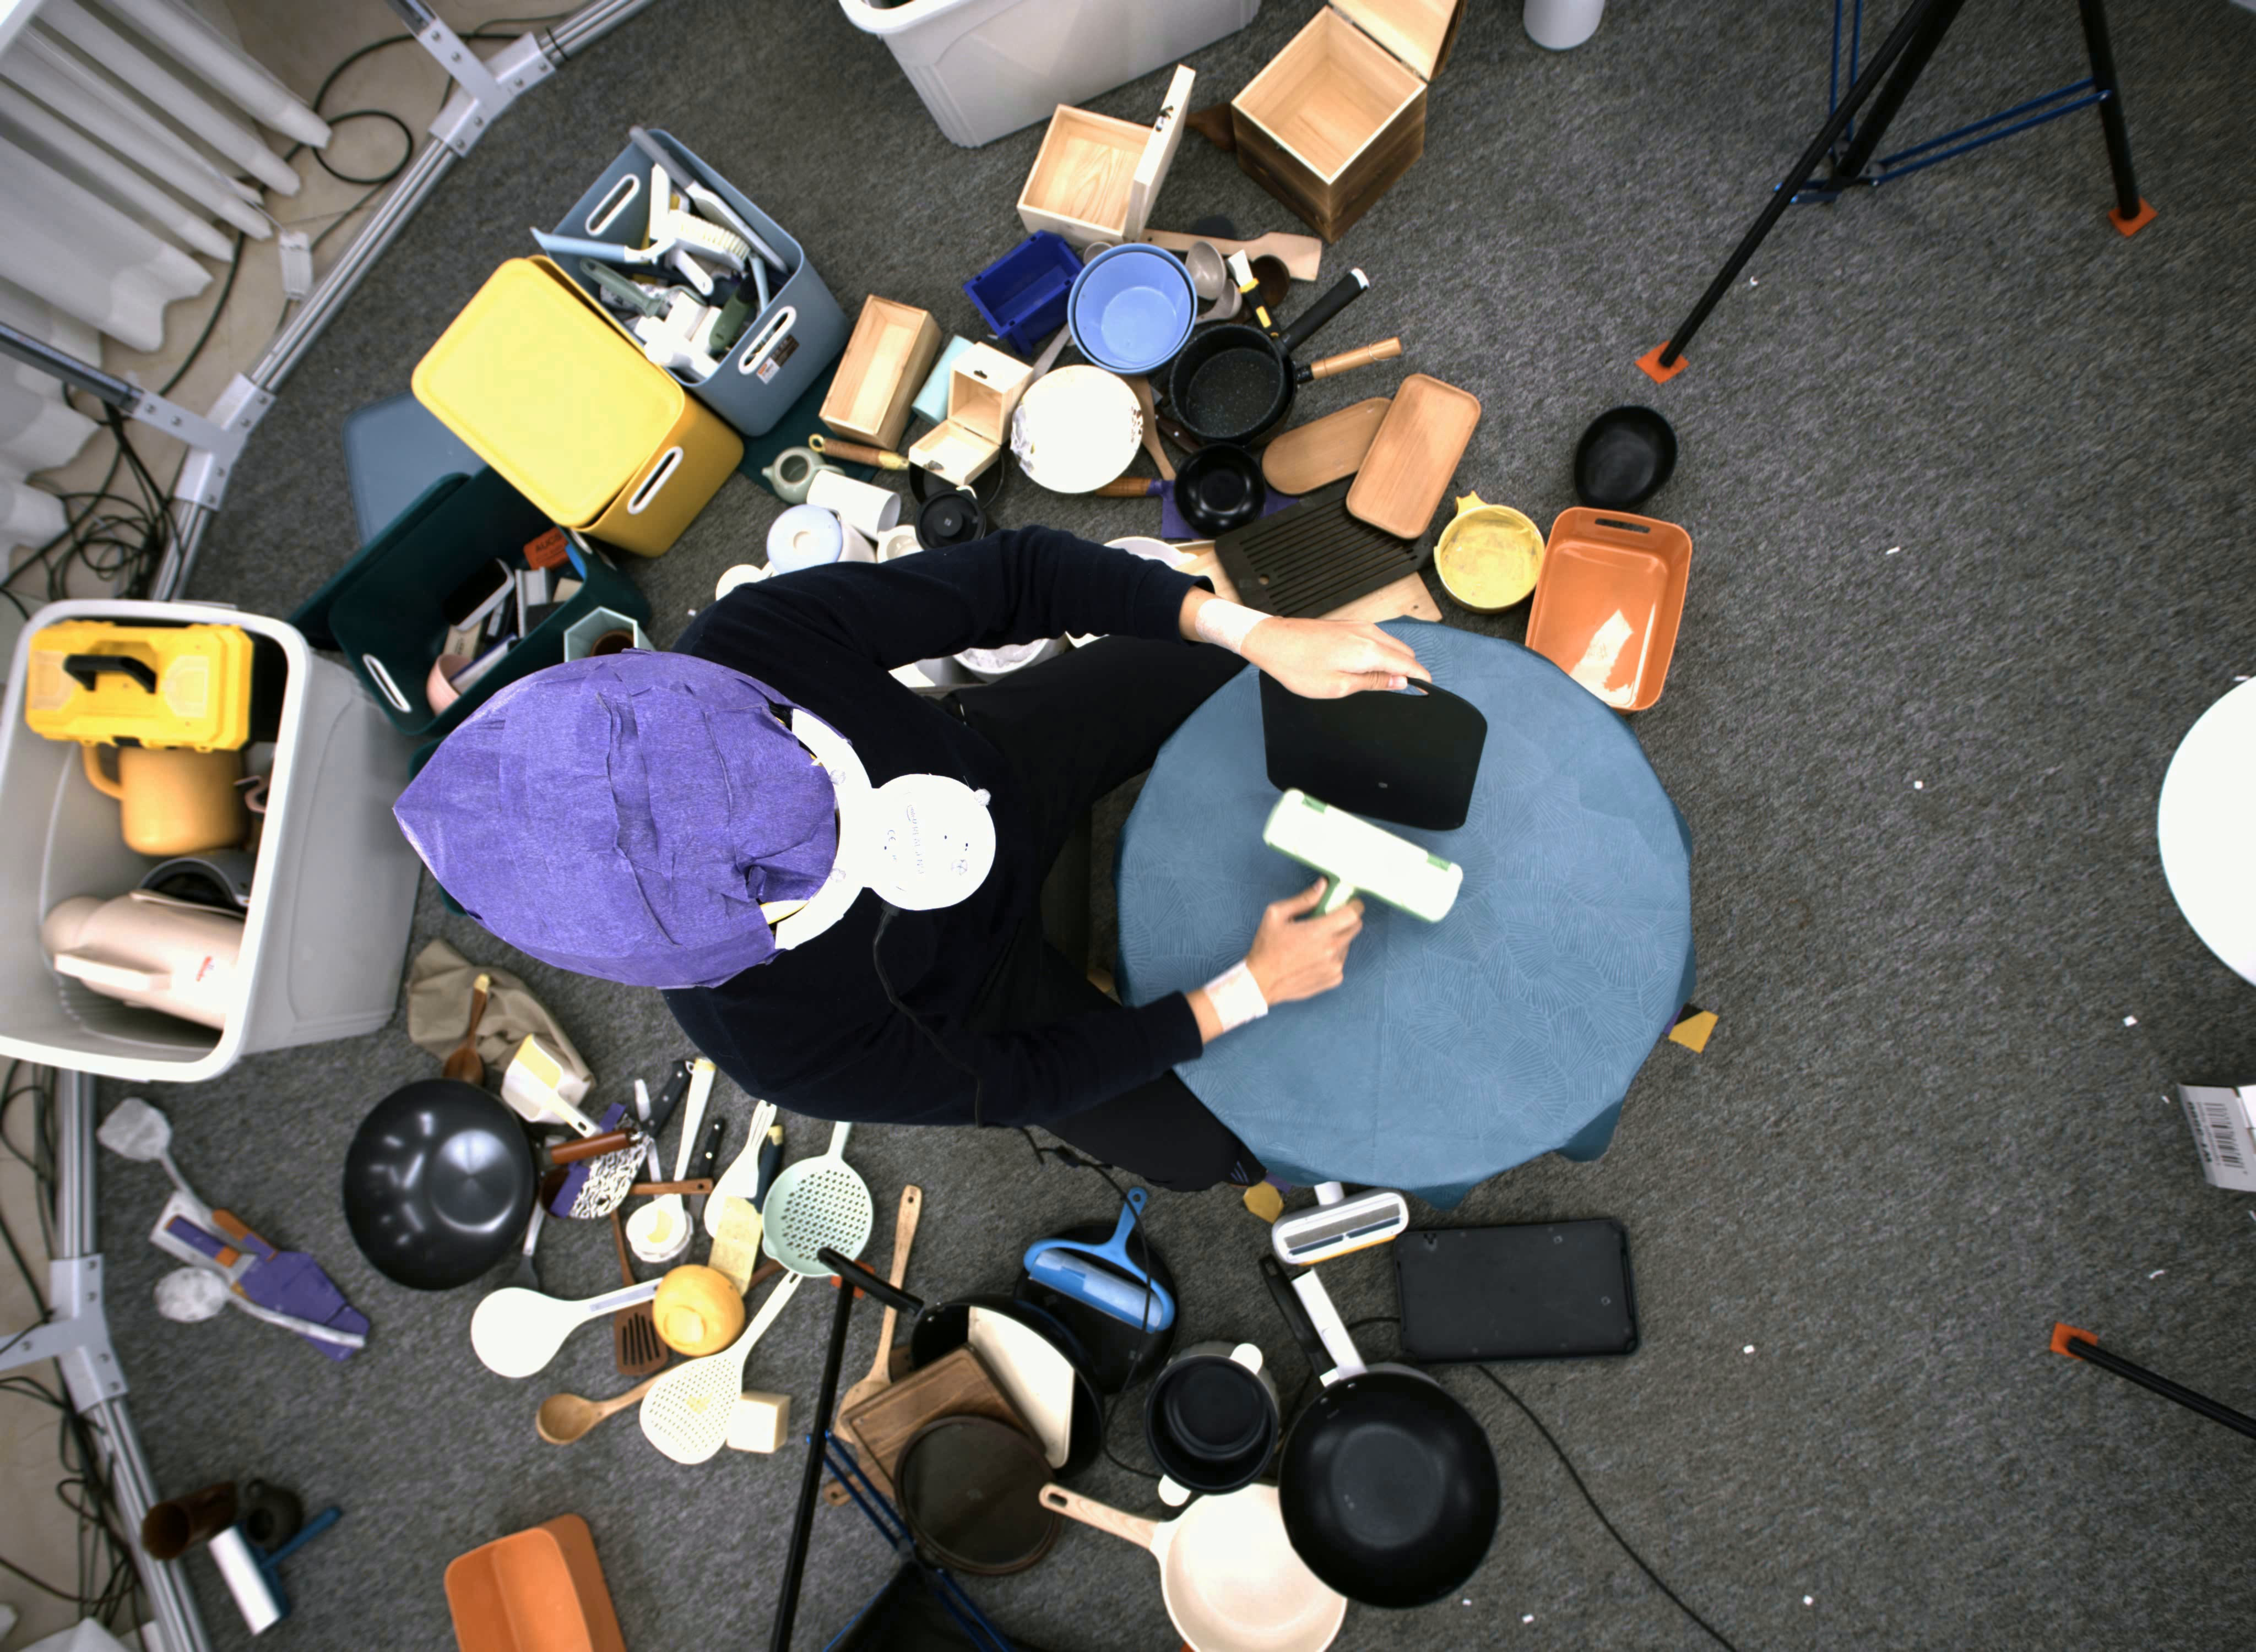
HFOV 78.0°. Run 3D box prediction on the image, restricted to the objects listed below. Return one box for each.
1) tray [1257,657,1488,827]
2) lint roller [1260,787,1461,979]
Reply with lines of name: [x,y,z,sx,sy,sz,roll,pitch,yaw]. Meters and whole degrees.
tray: [0.231,-0.077,1.314,0.211,0.330,0.009,13,71,14]
lint roller: [0.207,0.079,1.382,0.199,0.081,0.185,24,103,-1]
